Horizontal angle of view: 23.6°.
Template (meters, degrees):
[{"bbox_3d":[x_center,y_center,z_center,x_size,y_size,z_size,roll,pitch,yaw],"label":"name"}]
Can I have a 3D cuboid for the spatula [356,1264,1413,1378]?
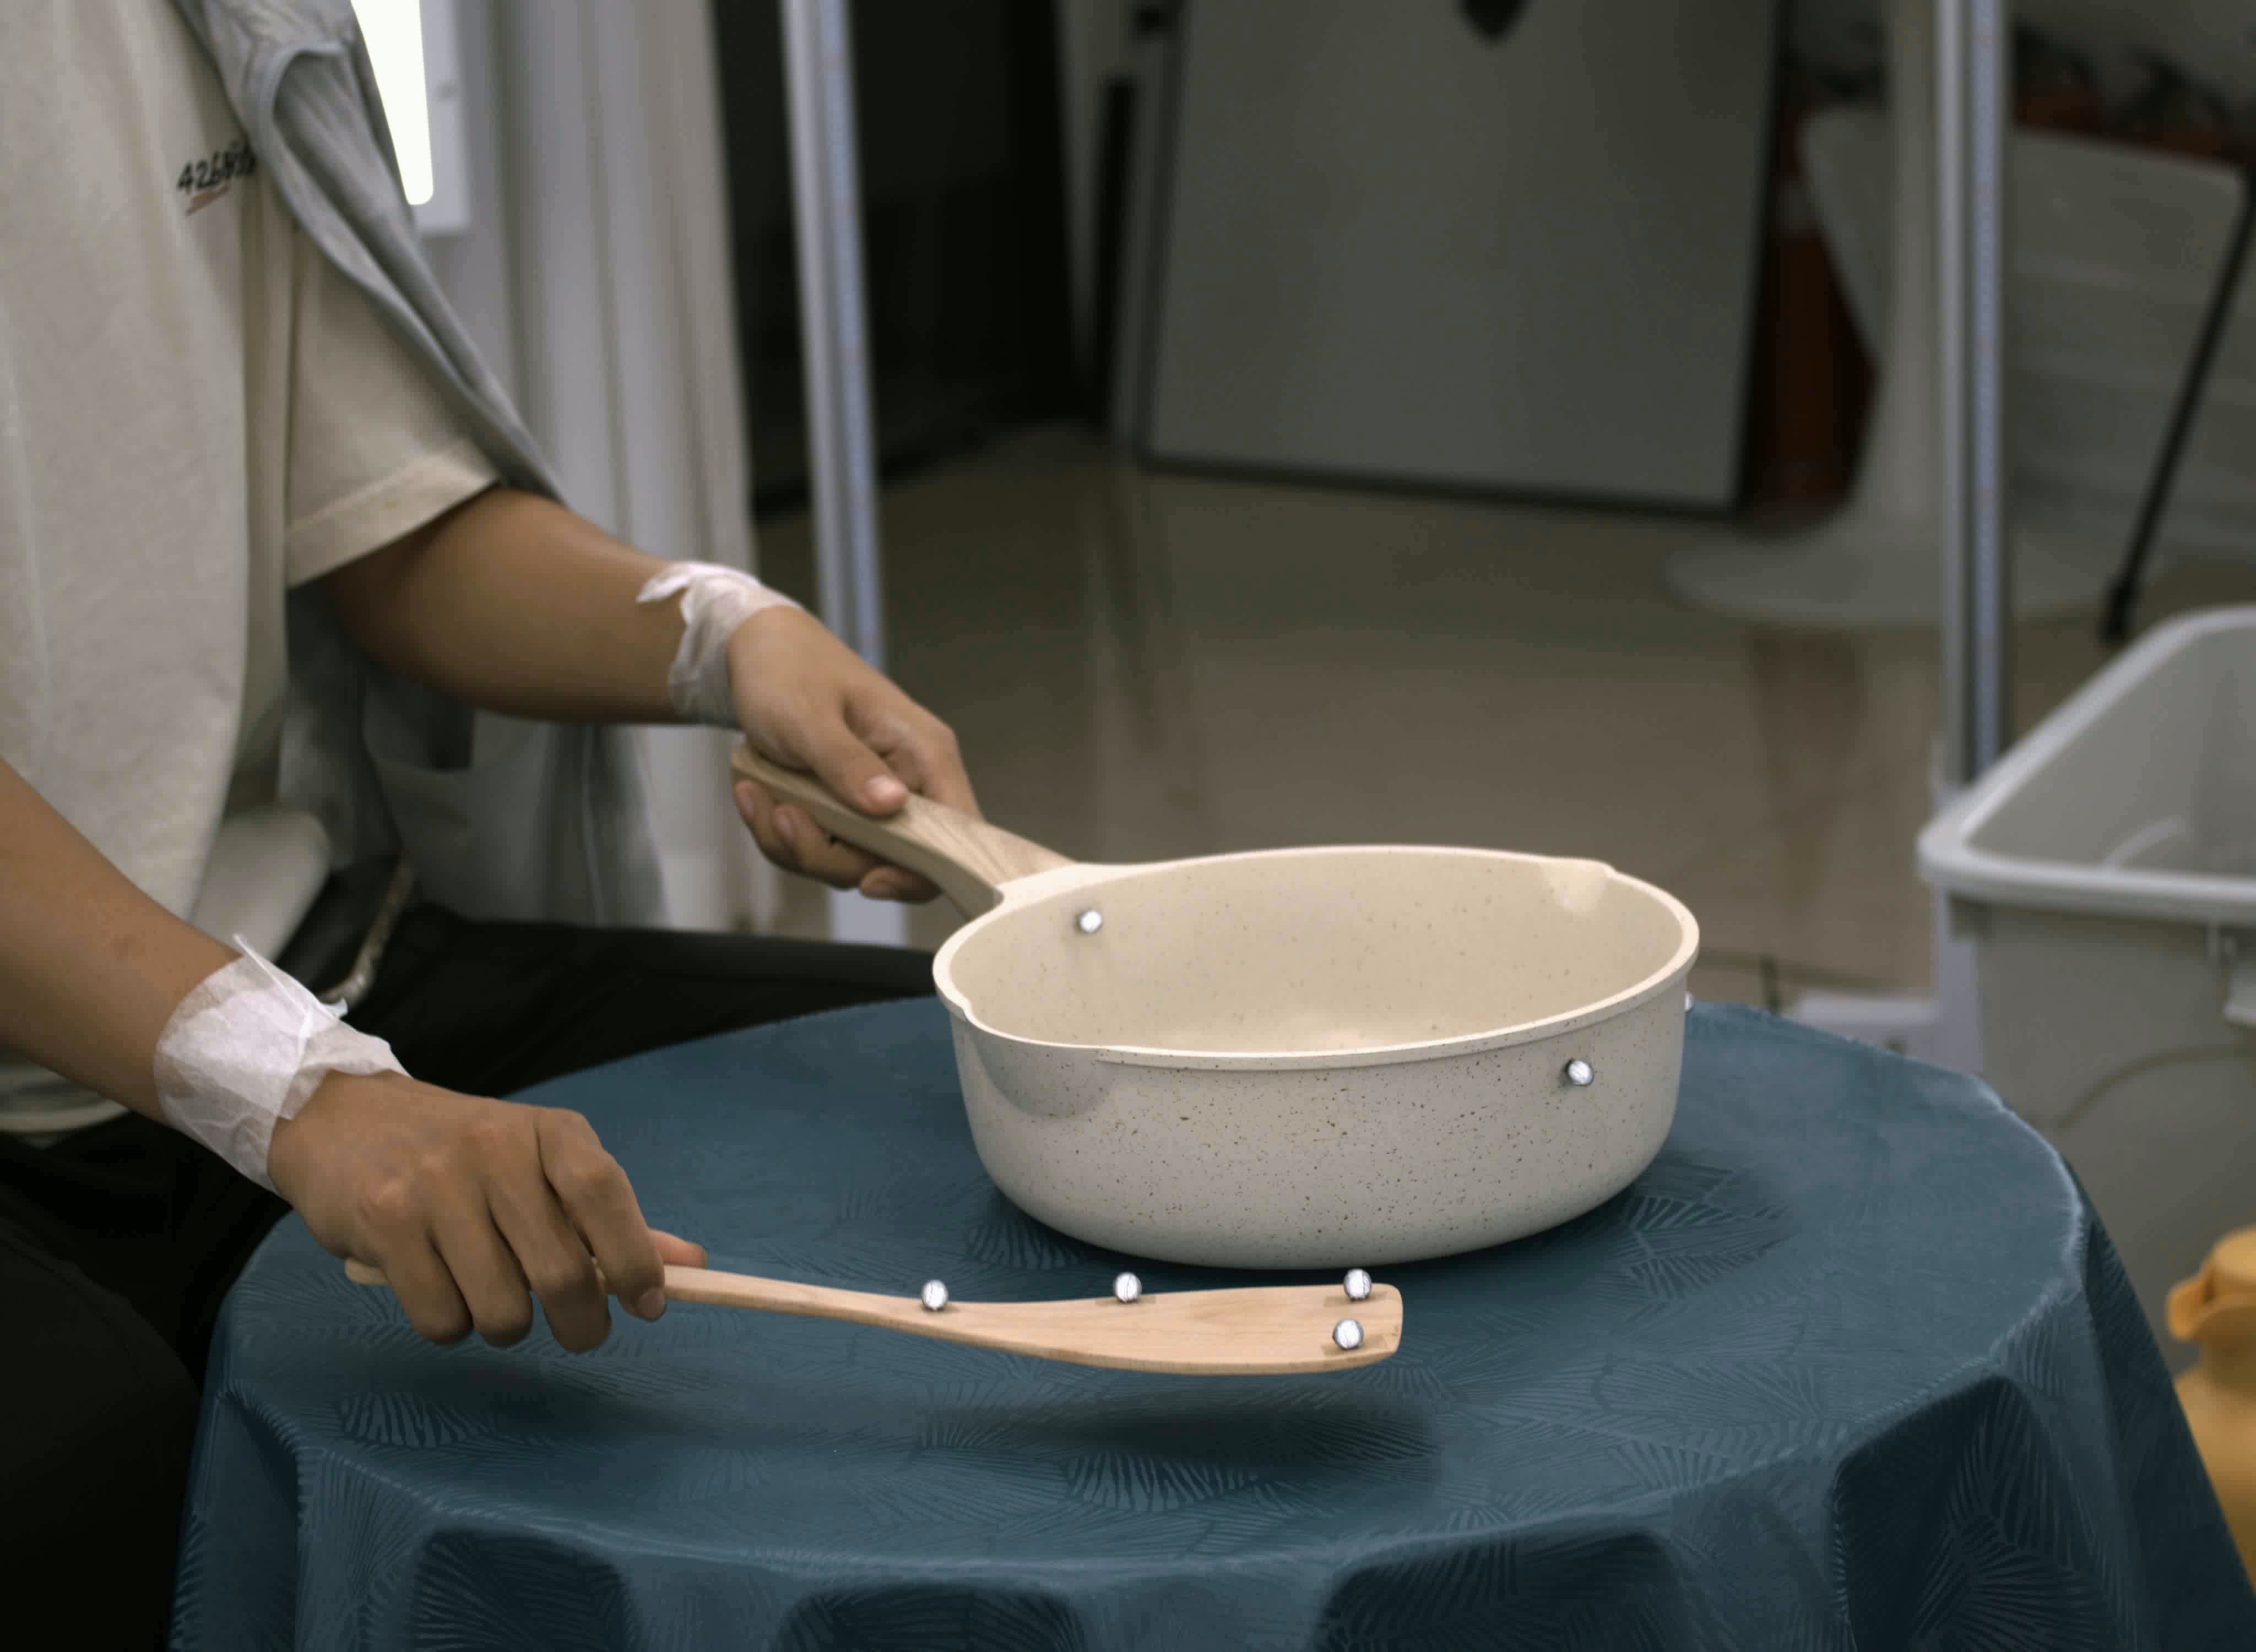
[{"bbox_3d":[-0.072,0.139,1.573,0.326,0.017,0.079,3,11,16],"label":"spatula"}]

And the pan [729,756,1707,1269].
[{"bbox_3d":[0.007,0.055,1.832,0.258,0.103,0.439,-17,19,-37],"label":"pan"}]
